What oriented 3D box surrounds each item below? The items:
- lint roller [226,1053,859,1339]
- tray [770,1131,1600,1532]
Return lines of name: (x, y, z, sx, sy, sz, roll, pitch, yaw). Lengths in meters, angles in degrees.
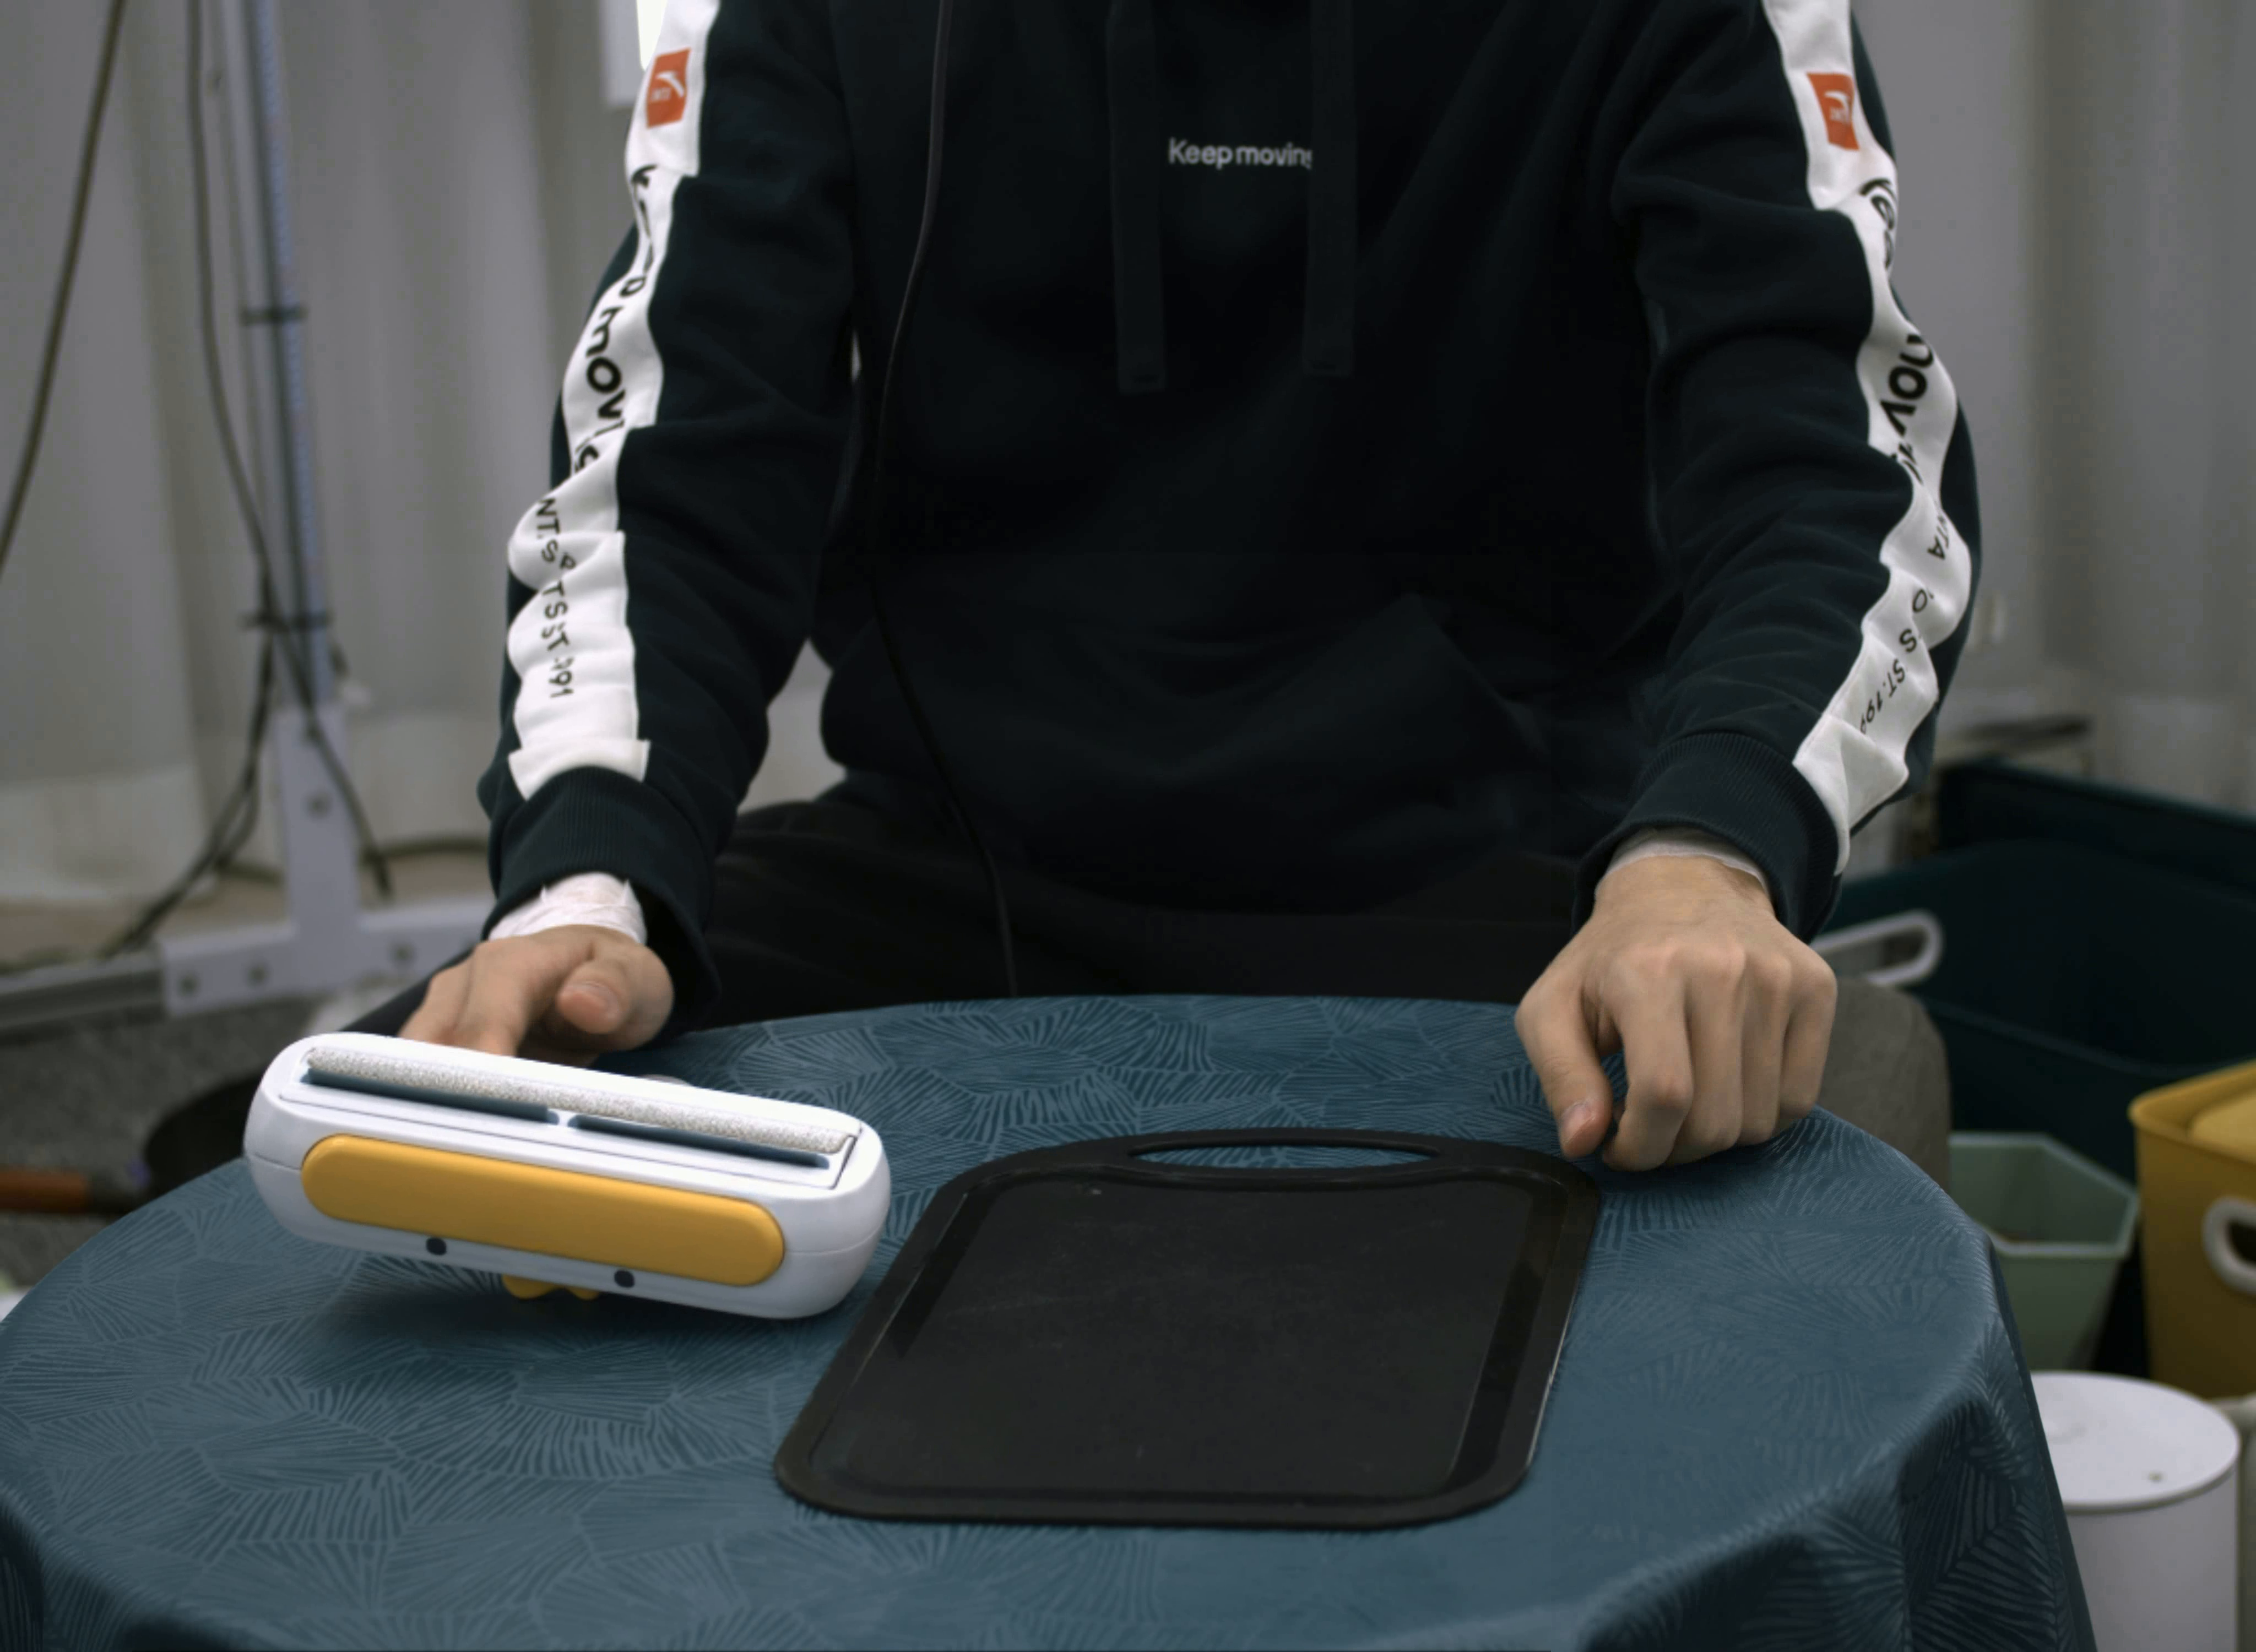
lint roller: (-0.163, 0.115, 1.687, 0.193, 0.074, 0.192, 7, 2, 13)
tray: (0.024, 0.141, 1.600, 0.211, 0.010, 0.327, 0, 15, 11)
